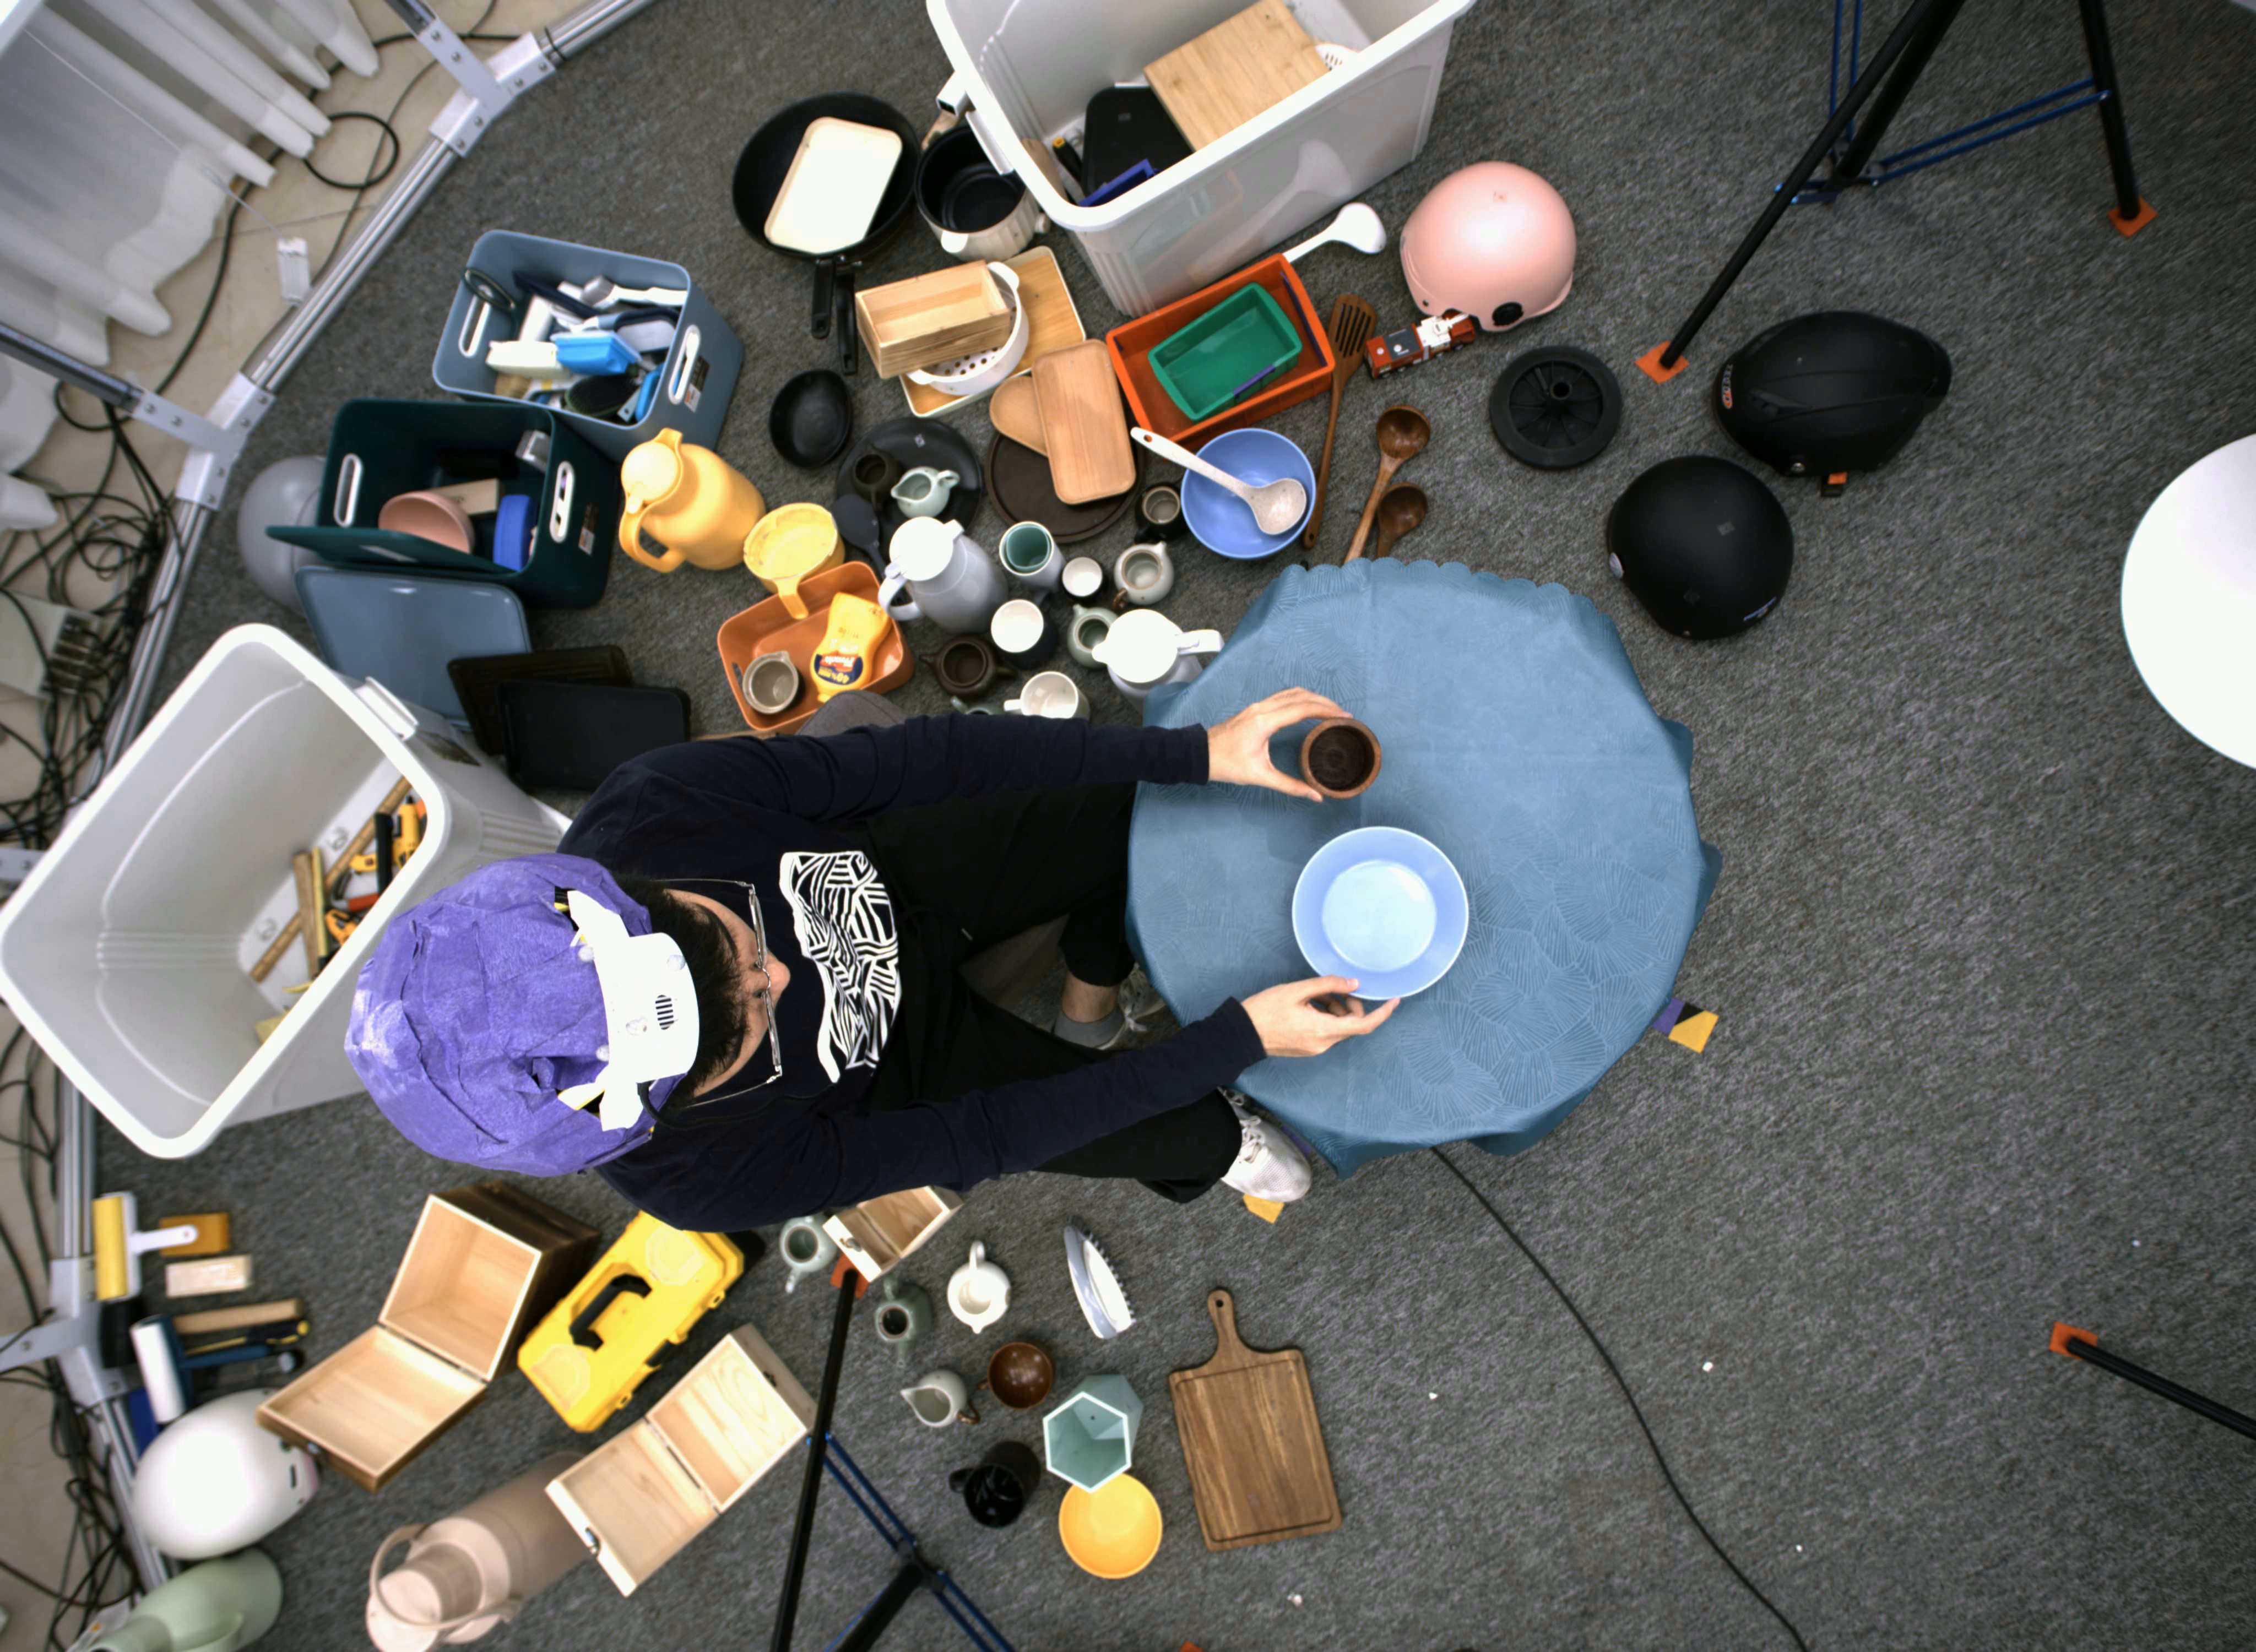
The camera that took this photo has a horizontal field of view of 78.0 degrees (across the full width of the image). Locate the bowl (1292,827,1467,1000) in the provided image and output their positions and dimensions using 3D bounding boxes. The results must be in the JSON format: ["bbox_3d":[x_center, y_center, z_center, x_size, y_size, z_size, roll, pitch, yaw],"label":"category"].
[{"bbox_3d":[0.258,0.090,1.424,0.177,0.070,0.175,-1,86,11],"label":"bowl"}]

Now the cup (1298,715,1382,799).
[{"bbox_3d":[0.214,-0.069,1.399,0.088,0.118,0.088,0,92,6],"label":"cup"}]
